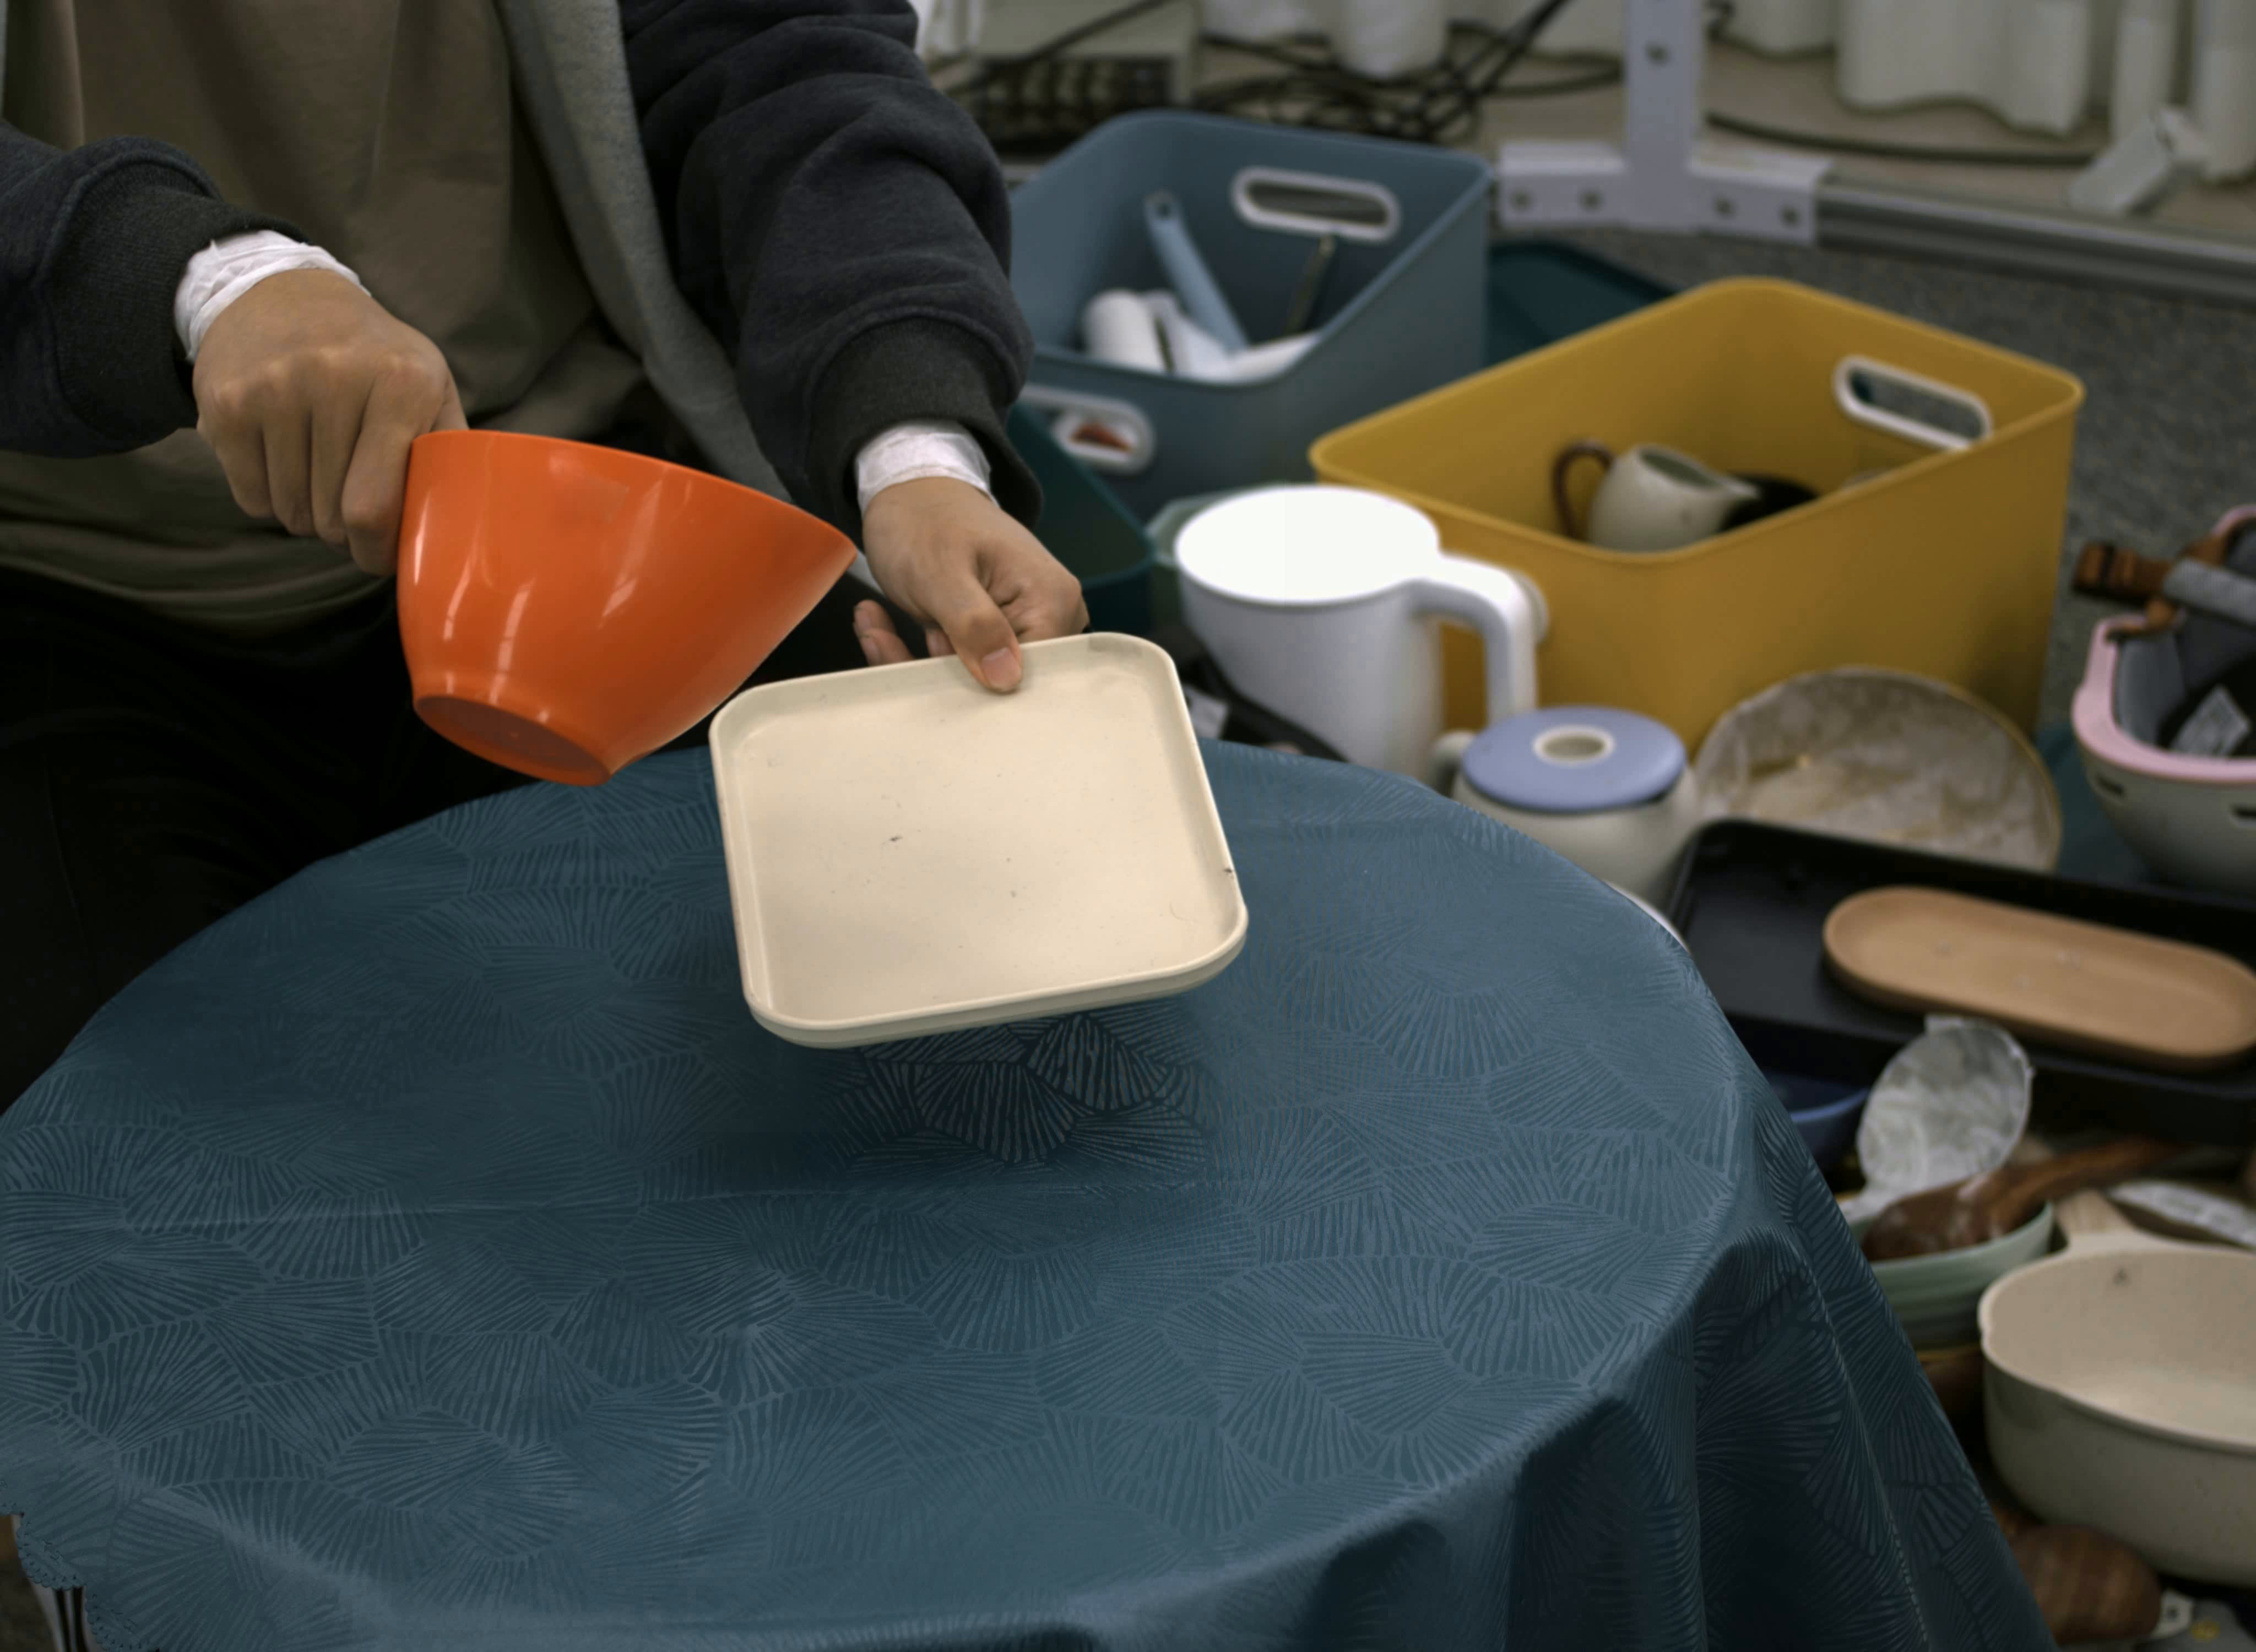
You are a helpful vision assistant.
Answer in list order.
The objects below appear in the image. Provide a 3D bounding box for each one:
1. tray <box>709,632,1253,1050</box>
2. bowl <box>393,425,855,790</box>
[{"bbox_3d":[-0.053,0.004,1.939,0.171,0.017,0.243,-9,30,-4],"label":"tray"},{"bbox_3d":[-0.174,-0.067,1.814,0.147,0.147,0.106,13,71,27],"label":"bowl"}]
